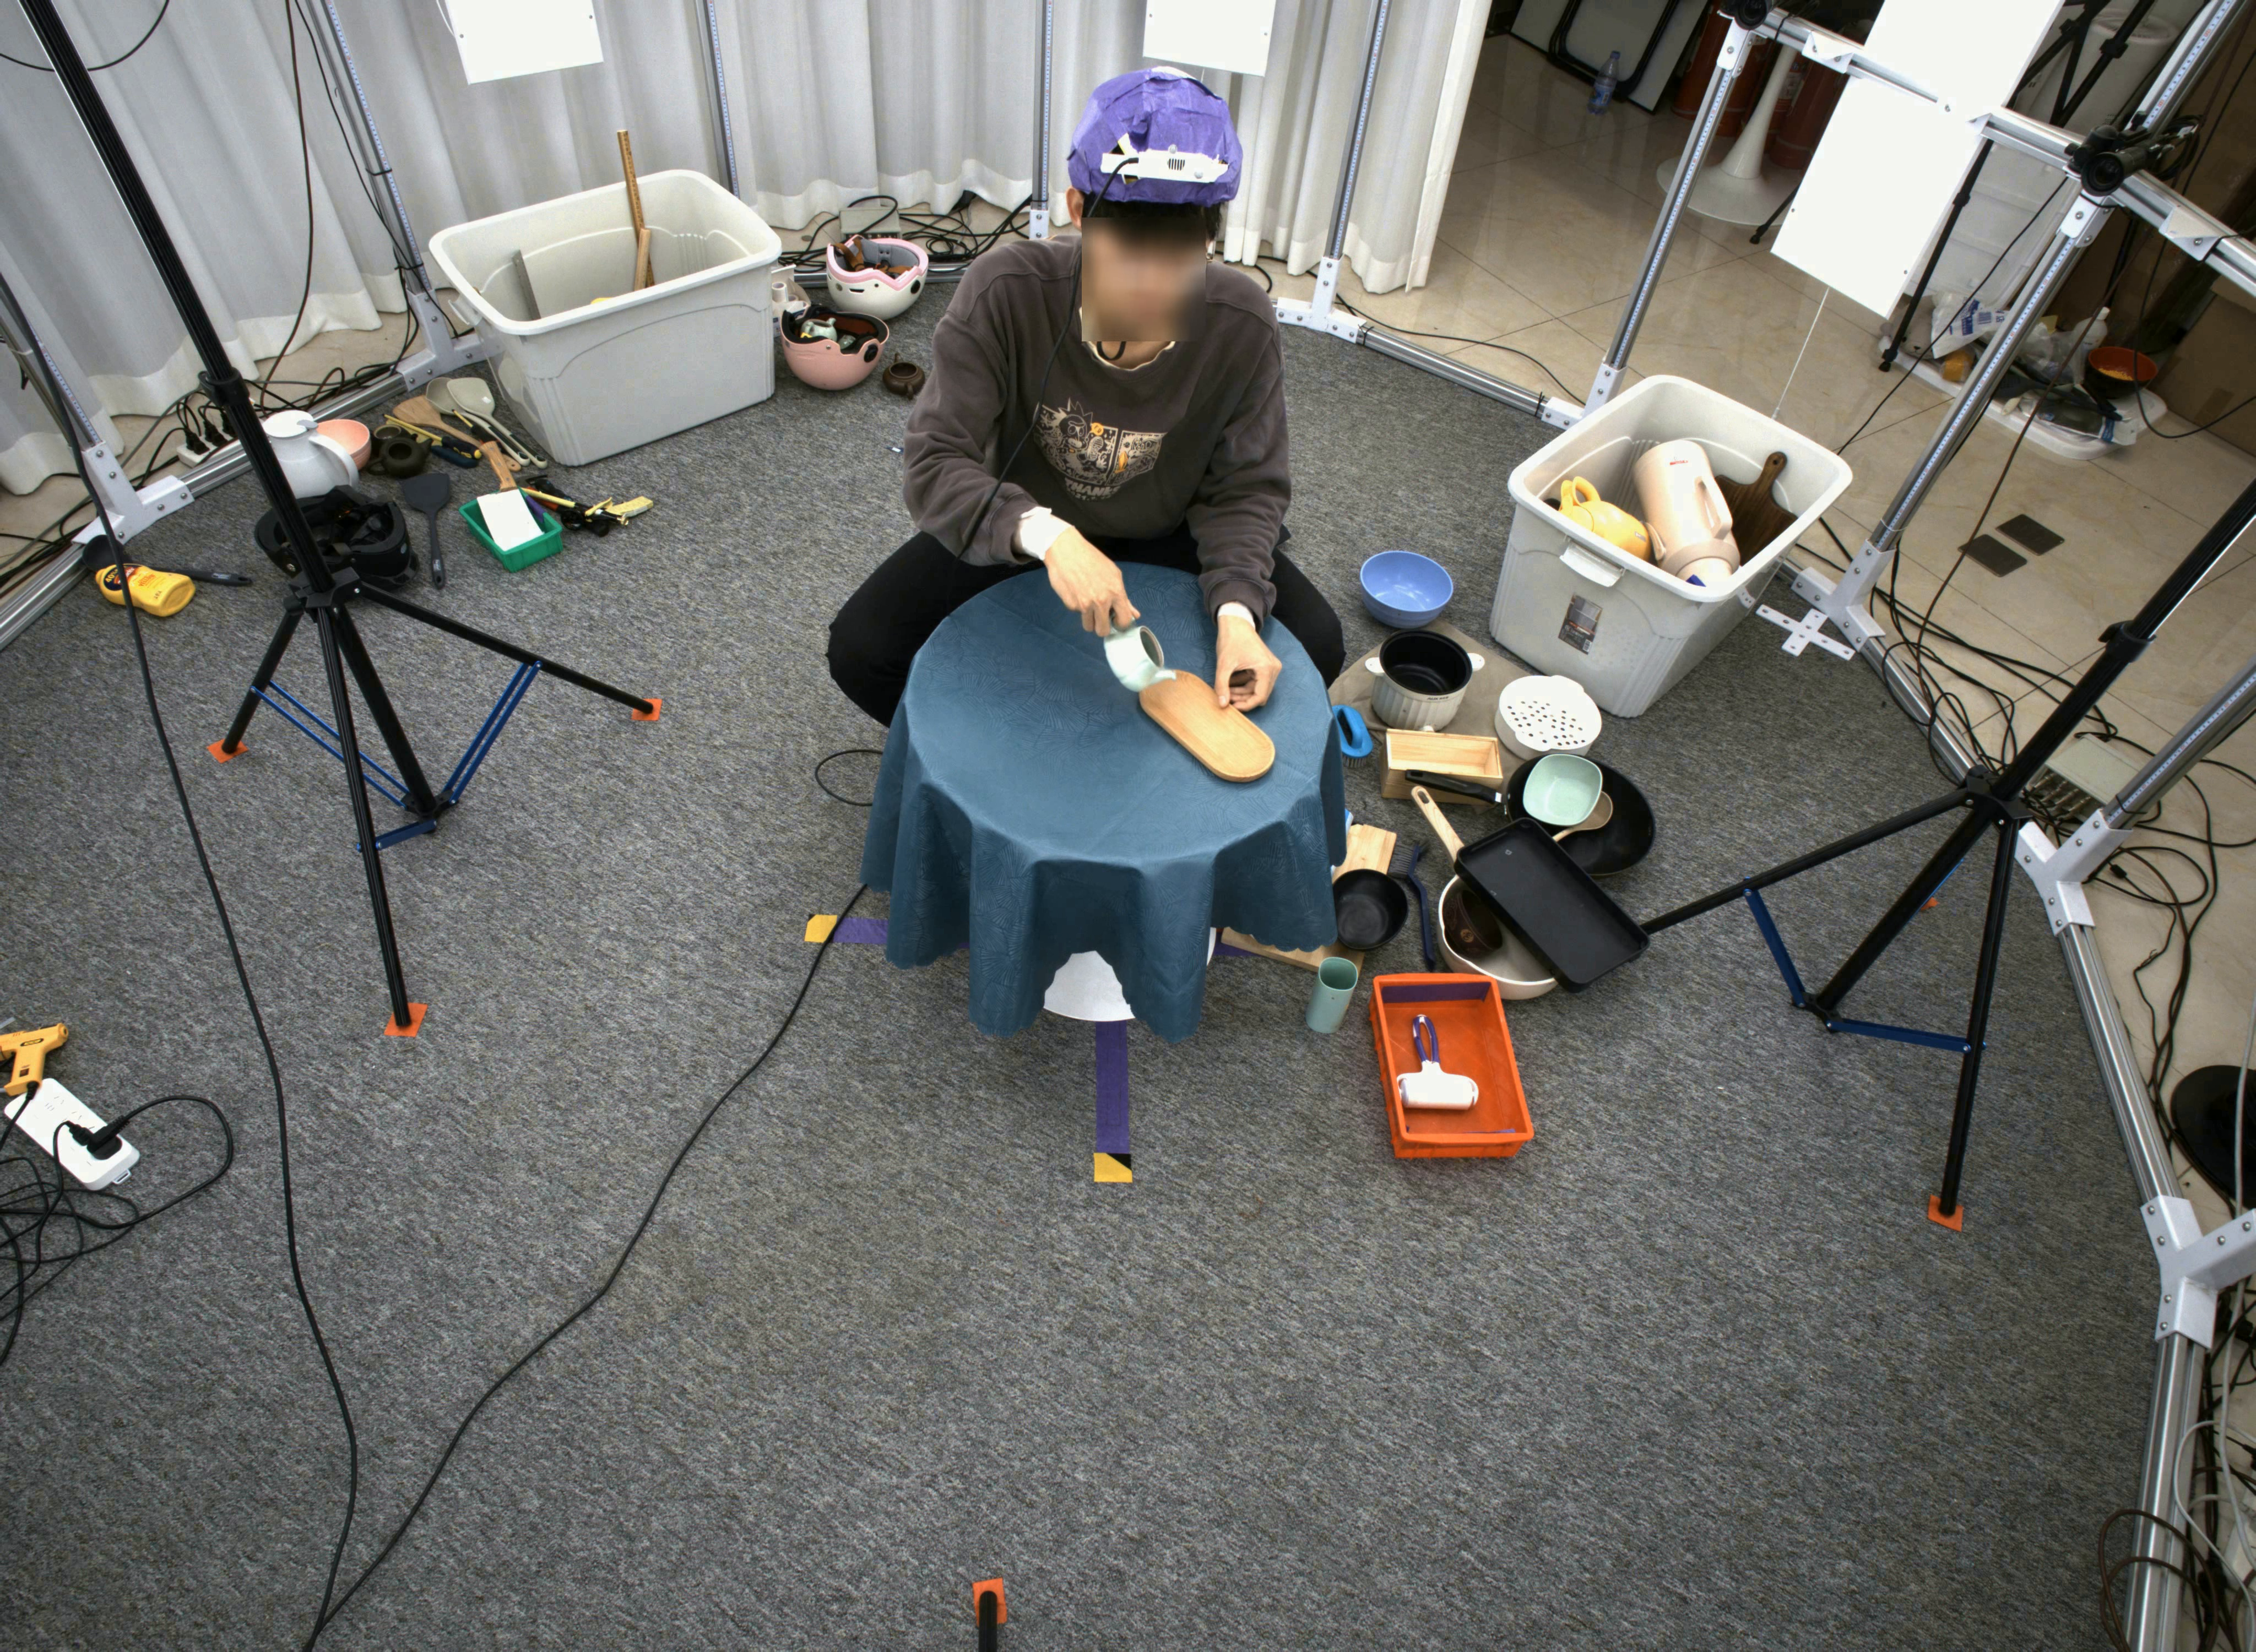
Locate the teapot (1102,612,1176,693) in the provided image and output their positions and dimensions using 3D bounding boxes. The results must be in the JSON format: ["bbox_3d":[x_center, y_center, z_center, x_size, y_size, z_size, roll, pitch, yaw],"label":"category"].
[{"bbox_3d":[0.006,-0.235,1.739,0.061,0.134,0.098,-23,38,26],"label":"teapot"}]

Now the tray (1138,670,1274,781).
[{"bbox_3d":[0.106,-0.142,1.784,0.102,0.020,0.235,-31,56,-27],"label":"tray"}]
